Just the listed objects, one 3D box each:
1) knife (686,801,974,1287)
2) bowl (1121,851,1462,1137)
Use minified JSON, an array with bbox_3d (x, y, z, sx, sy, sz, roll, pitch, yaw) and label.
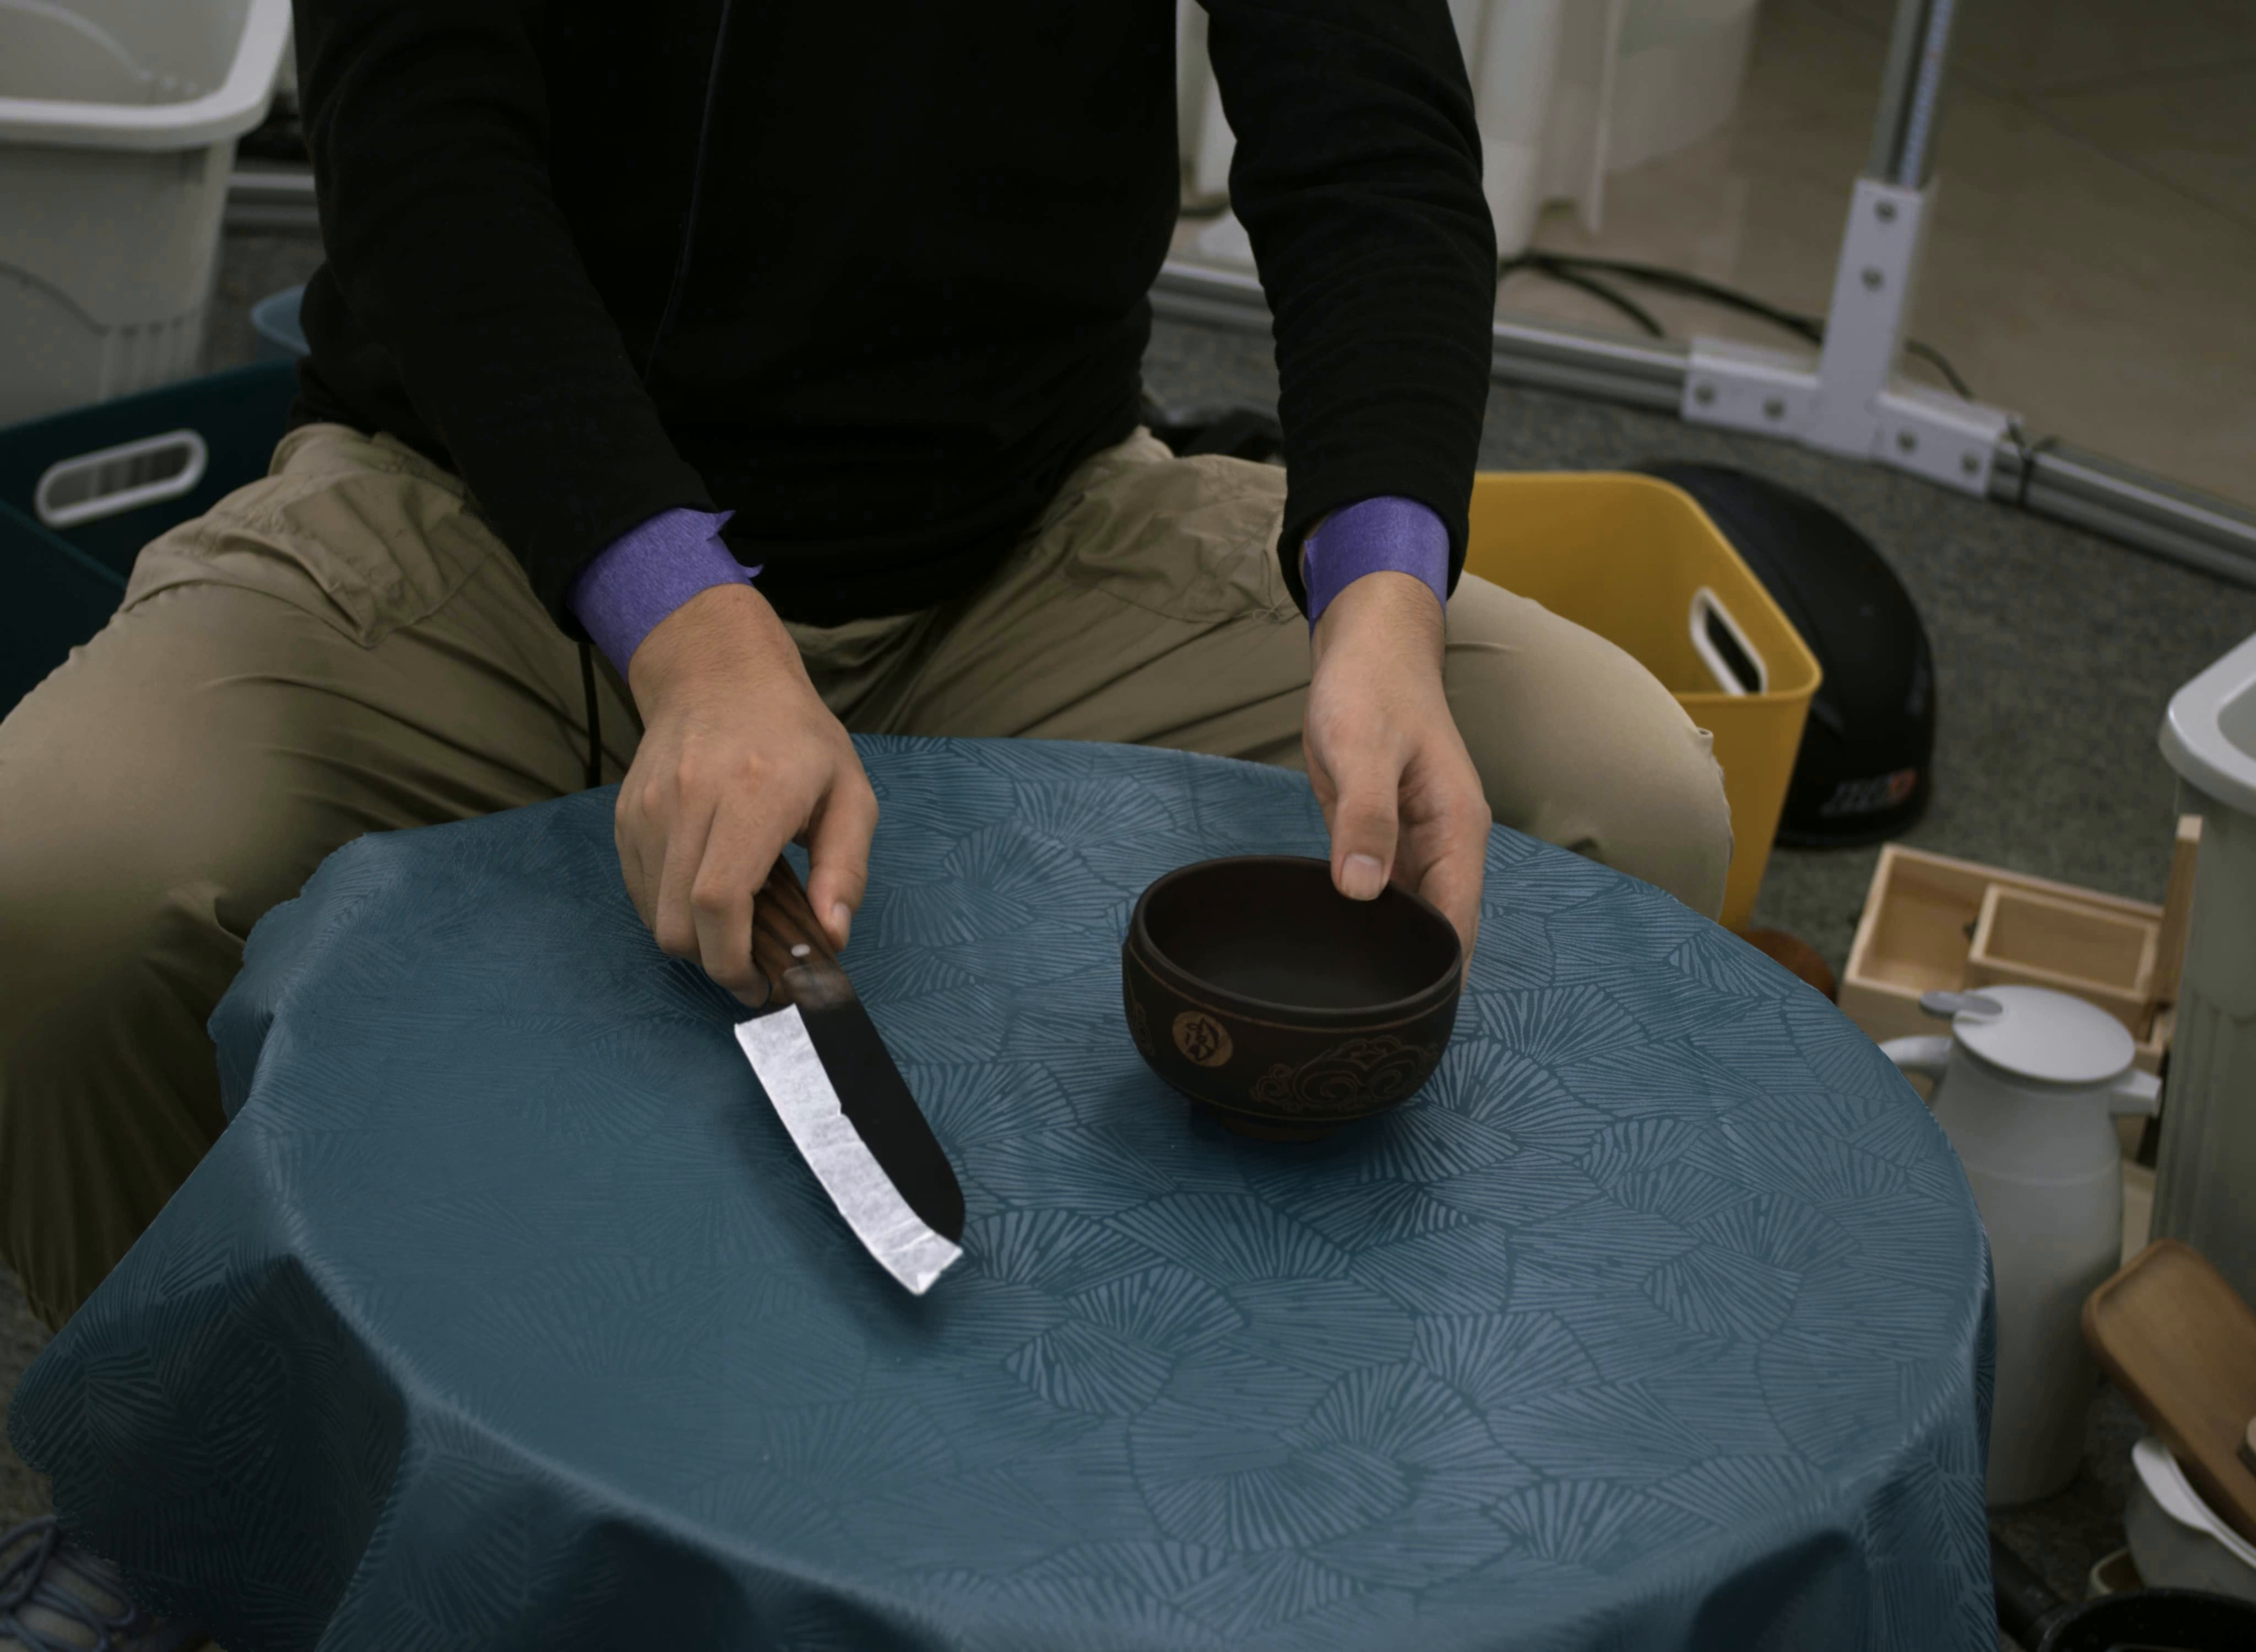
[{"bbox_3d":[-0.105,0.072,1.814,0.050,0.020,0.292,-18,35,-9],"label":"knife"},{"bbox_3d":[0.055,0.065,1.854,0.117,0.069,0.119,5,26,-3],"label":"bowl"}]
